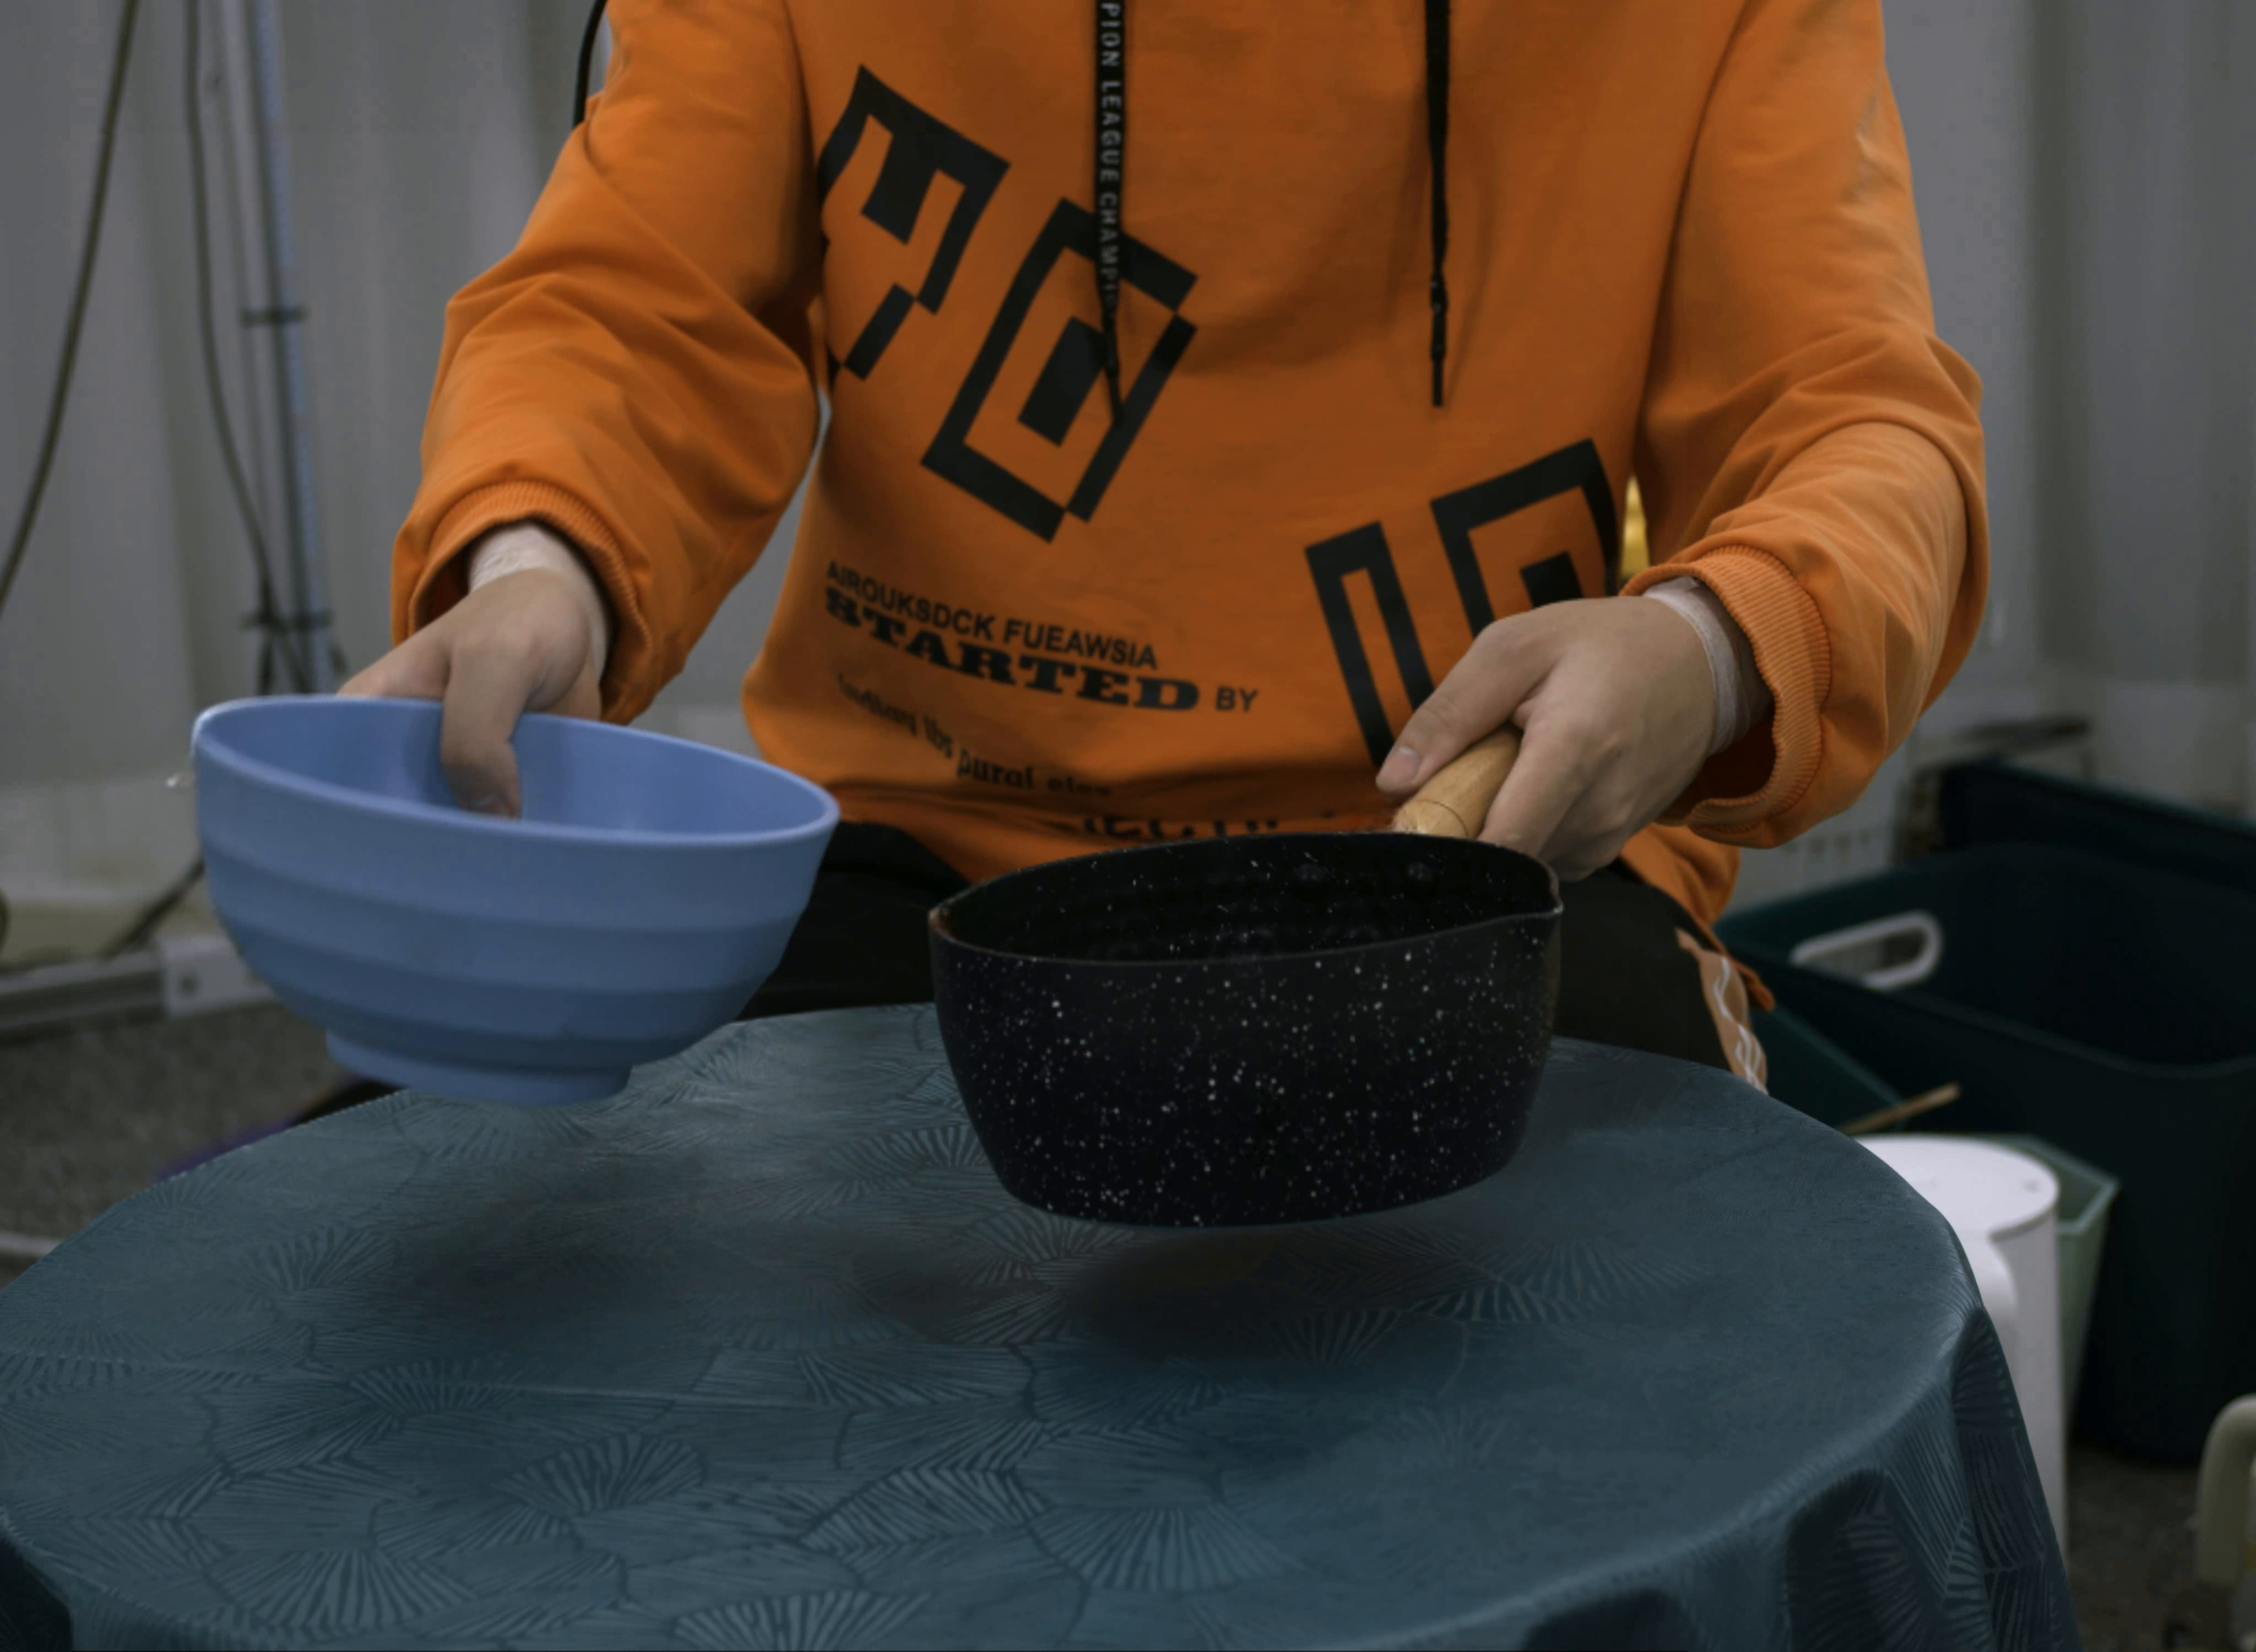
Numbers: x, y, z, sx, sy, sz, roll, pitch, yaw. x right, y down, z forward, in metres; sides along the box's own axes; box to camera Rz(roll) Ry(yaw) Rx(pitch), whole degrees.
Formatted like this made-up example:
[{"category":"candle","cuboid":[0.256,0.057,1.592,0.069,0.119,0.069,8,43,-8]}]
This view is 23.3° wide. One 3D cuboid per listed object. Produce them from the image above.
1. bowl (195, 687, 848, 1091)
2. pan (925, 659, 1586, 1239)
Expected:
[{"category":"bowl","cuboid":[-0.187,0.023,1.642,0.196,0.095,0.197,9,8,-1]},{"category":"pan","cuboid":[0.068,0.033,1.670,0.207,0.108,0.343,0,12,26]}]
